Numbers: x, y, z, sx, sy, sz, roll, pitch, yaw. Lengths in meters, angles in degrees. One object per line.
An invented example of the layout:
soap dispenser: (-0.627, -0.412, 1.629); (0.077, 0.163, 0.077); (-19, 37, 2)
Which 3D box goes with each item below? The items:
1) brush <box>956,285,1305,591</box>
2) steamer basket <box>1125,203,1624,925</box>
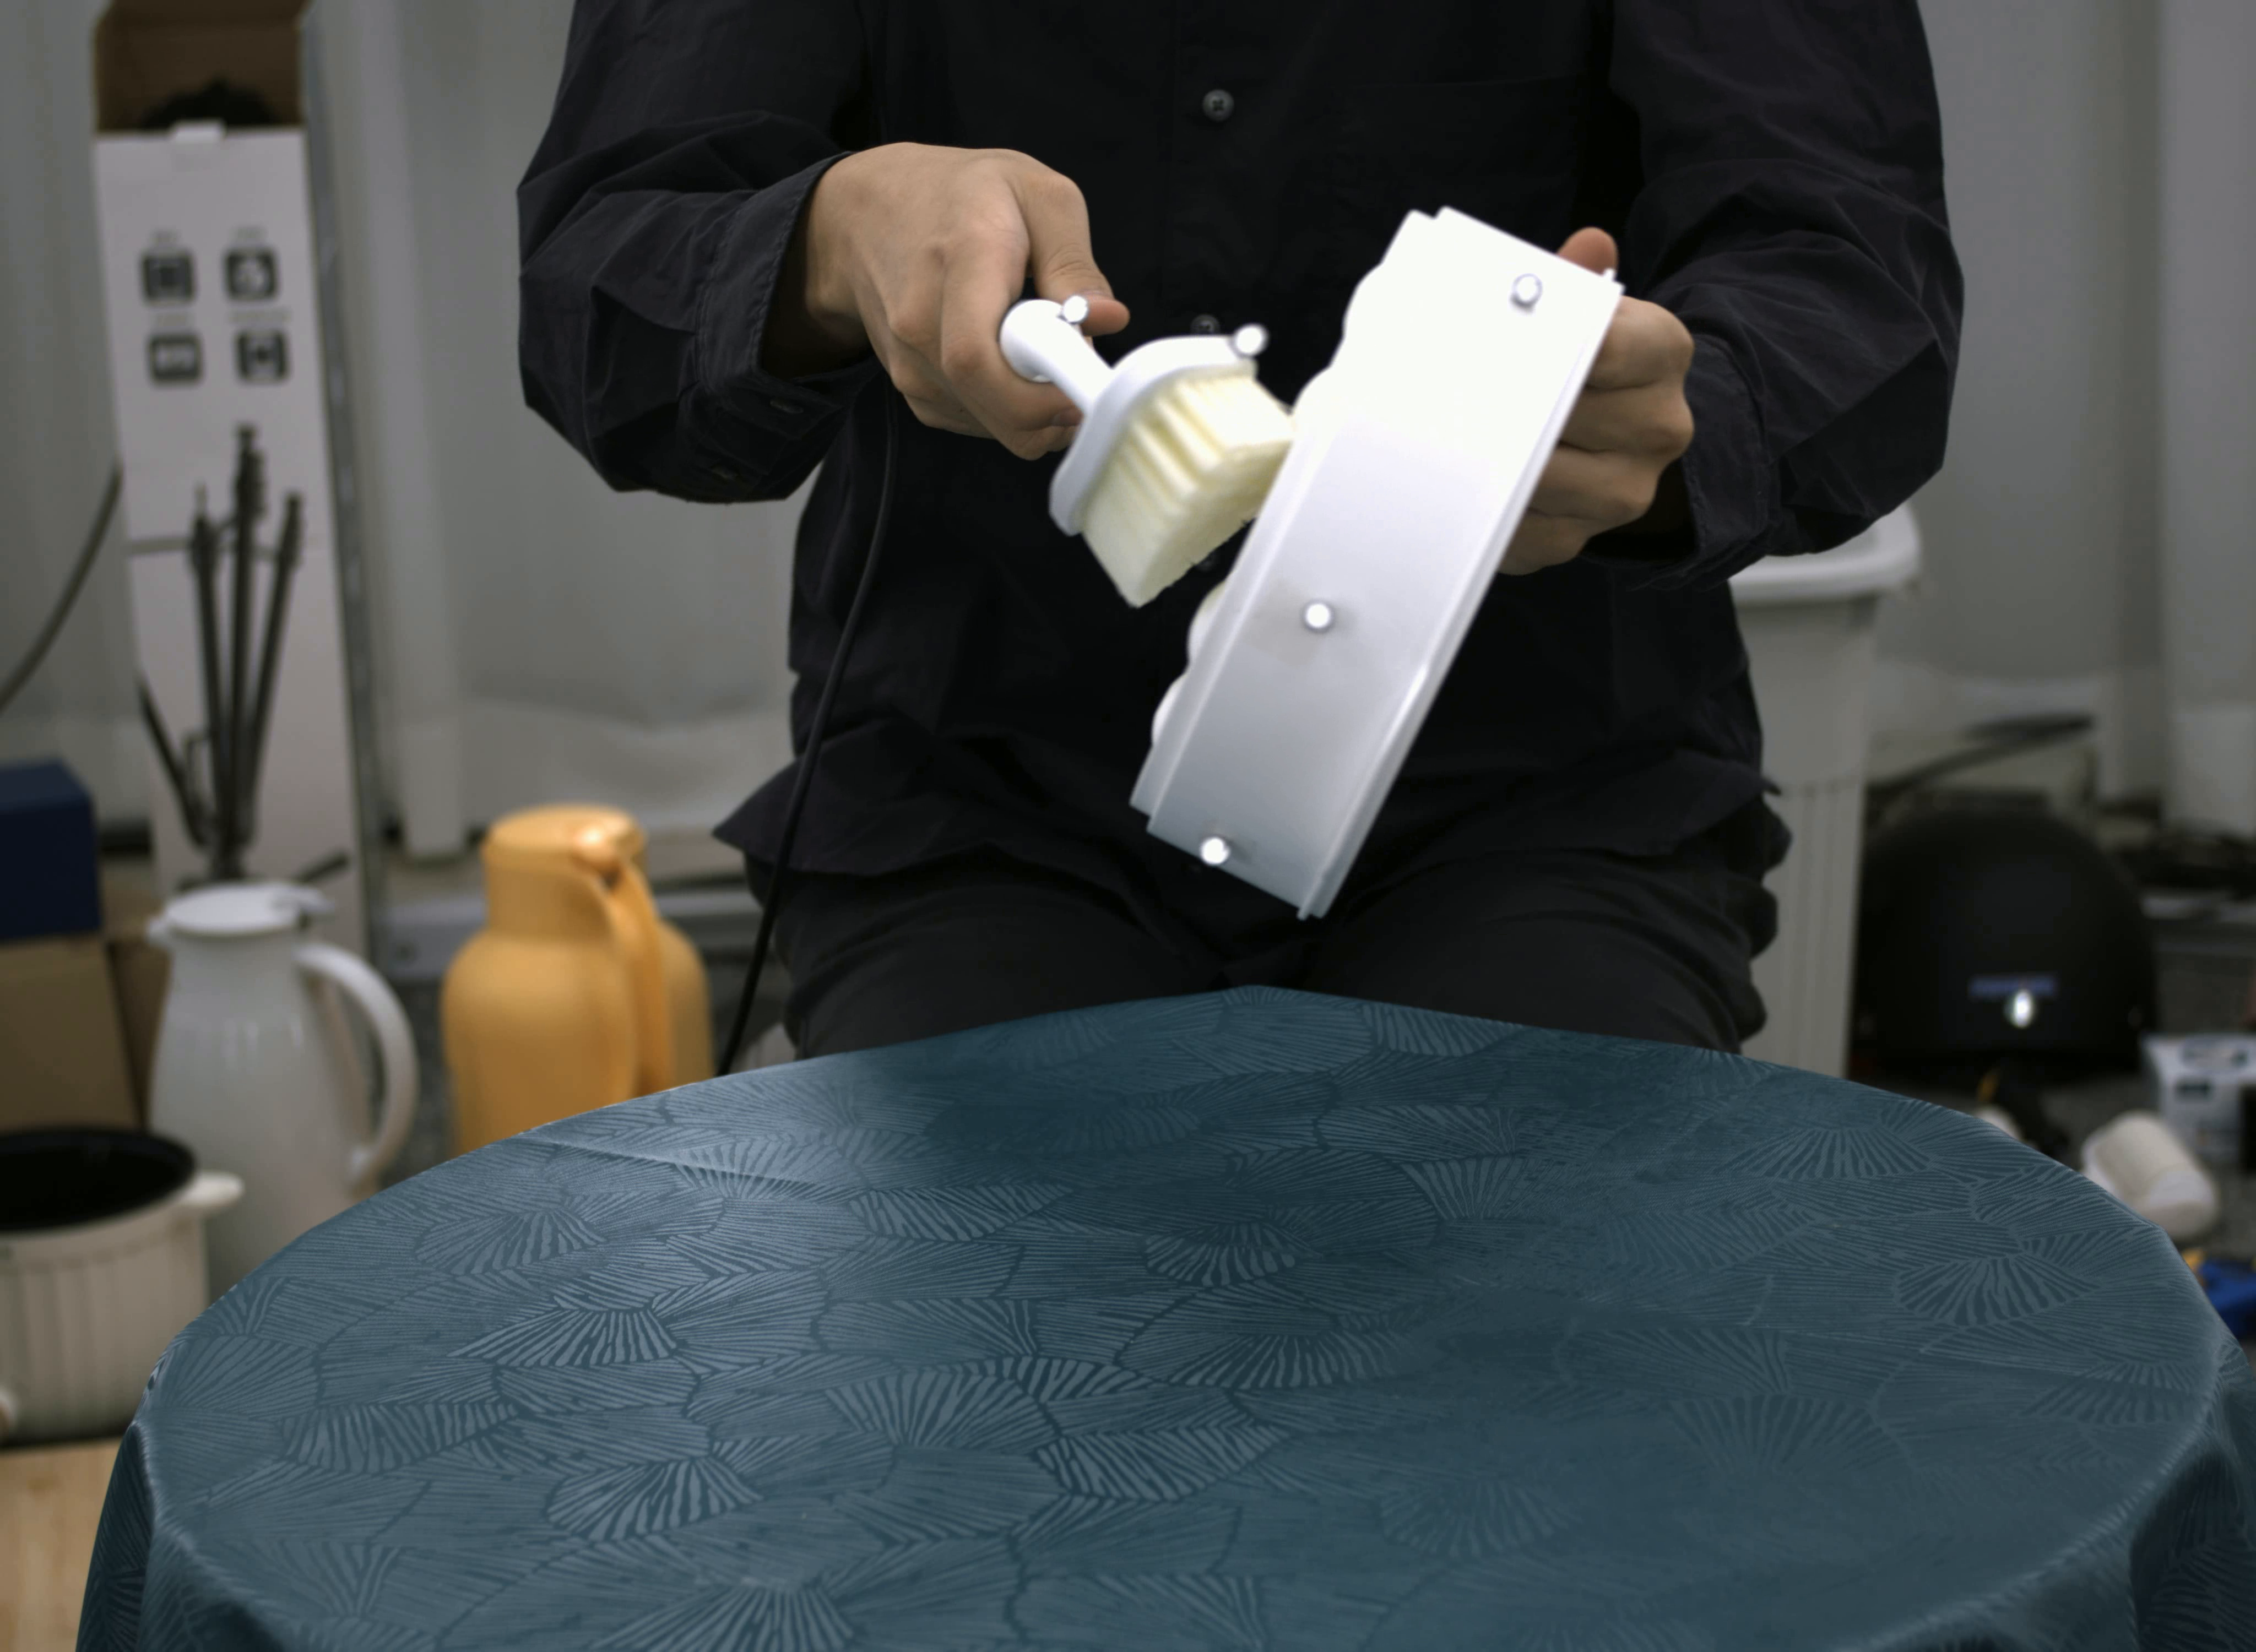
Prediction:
brush: (0.004, -0.115, 1.613); (0.083, 0.084, 0.326); (0, 6, -8)
steamer basket: (0.065, -0.075, 1.530); (0.069, 0.200, 0.233); (26, 35, 0)
